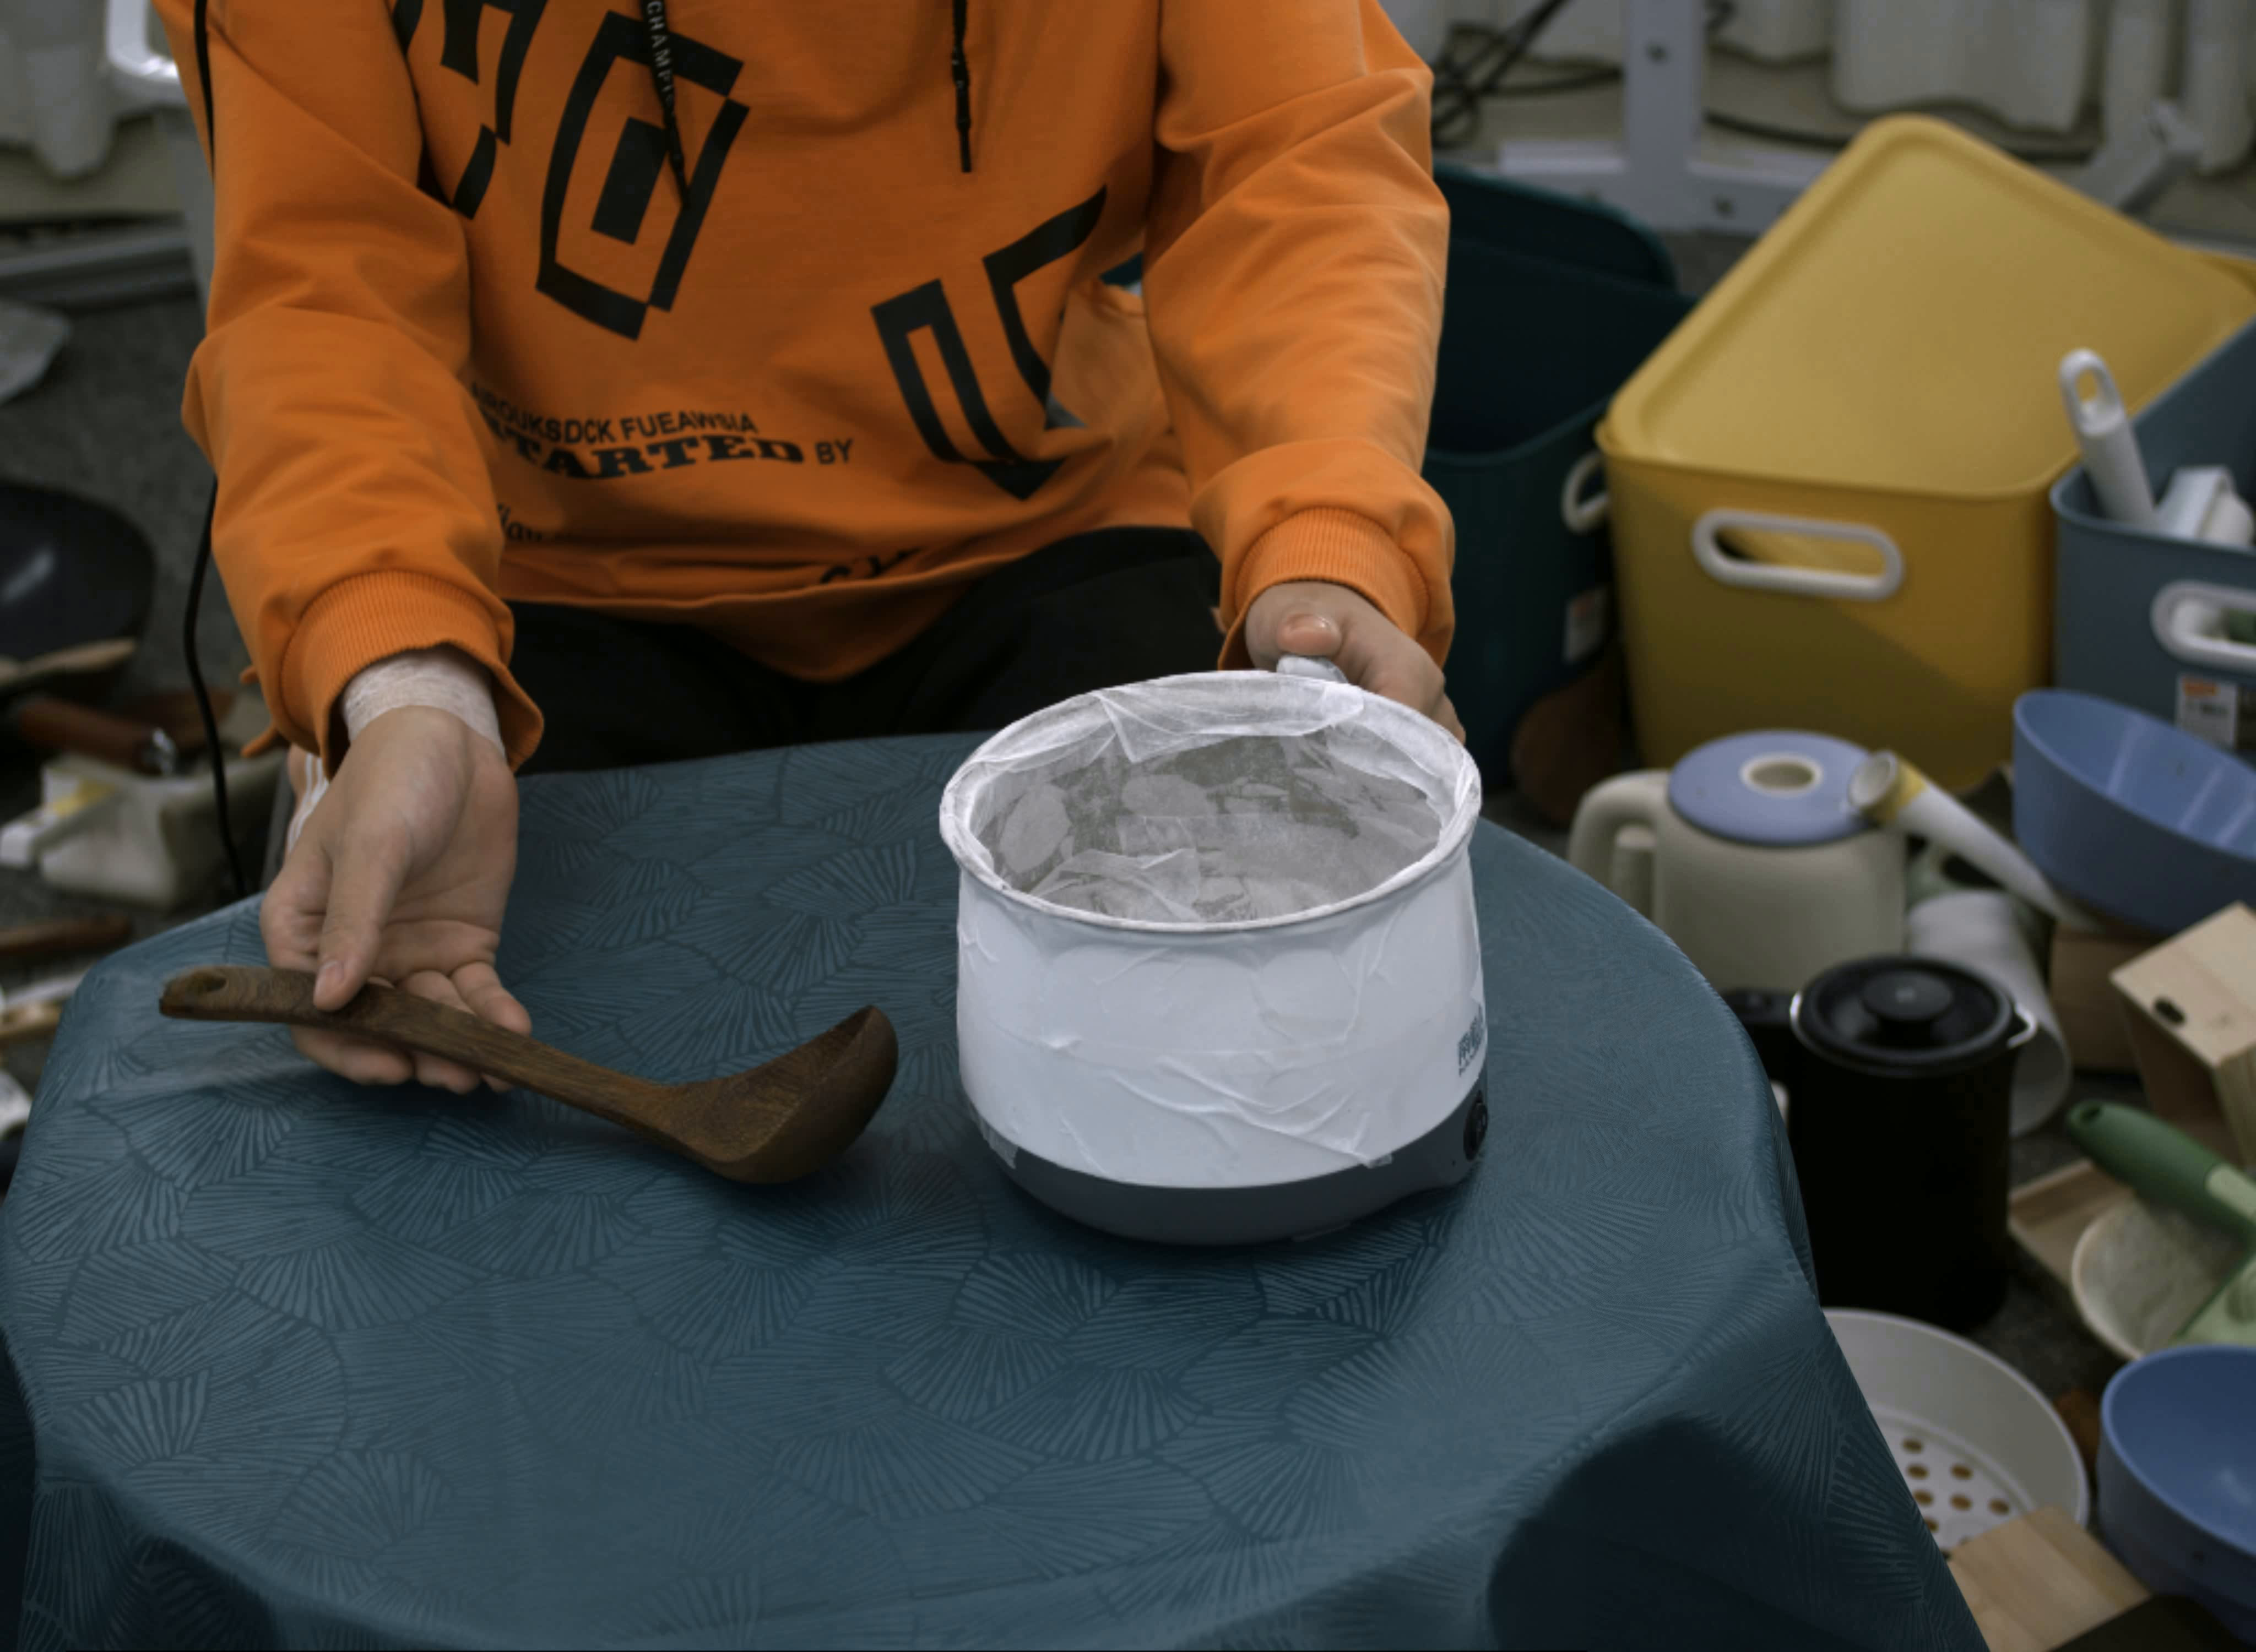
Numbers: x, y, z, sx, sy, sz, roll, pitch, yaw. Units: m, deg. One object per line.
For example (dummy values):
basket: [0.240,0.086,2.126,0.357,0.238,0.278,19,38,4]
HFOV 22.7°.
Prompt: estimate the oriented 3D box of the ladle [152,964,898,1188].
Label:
ladle: [-0.207,0.065,1.898,0.273,0.070,0.077,15,34,16]

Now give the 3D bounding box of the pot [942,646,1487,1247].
pot: [0.038,0.033,1.882,0.177,0.135,0.238,6,29,16]
